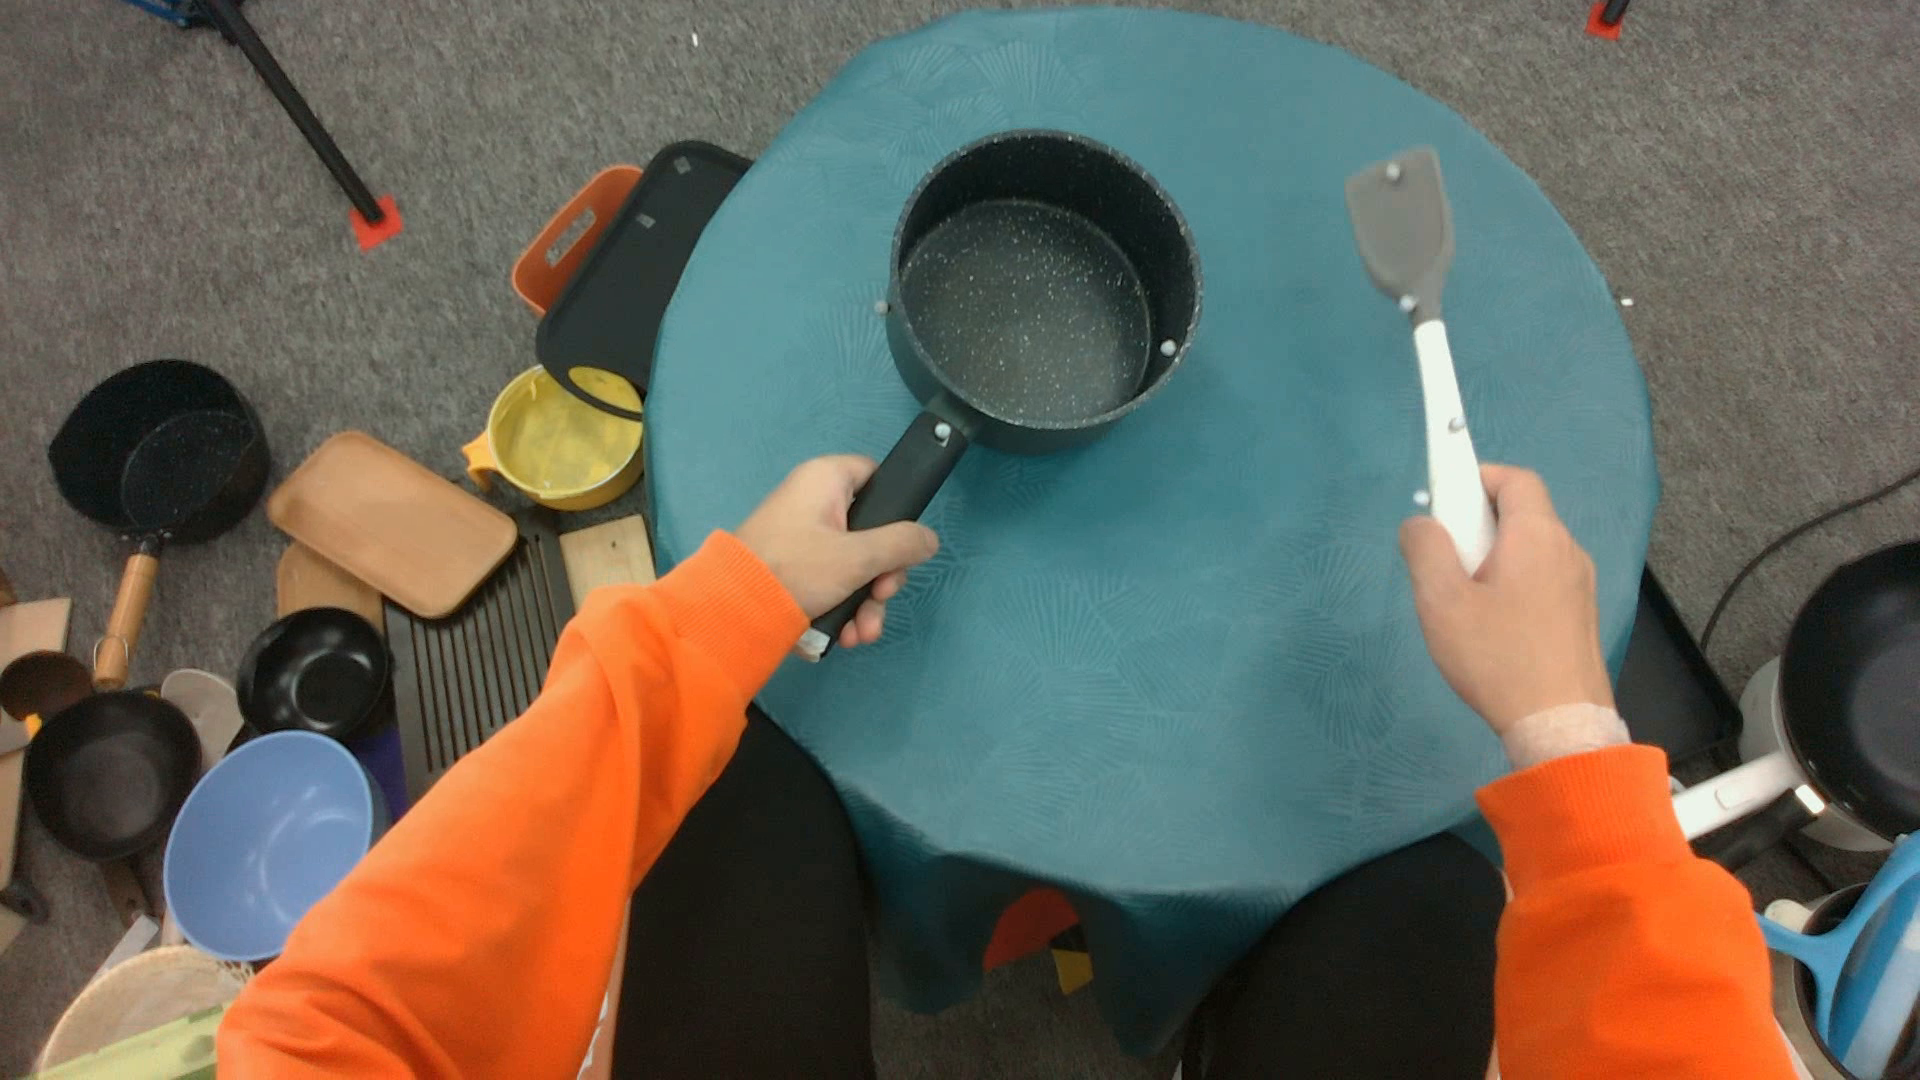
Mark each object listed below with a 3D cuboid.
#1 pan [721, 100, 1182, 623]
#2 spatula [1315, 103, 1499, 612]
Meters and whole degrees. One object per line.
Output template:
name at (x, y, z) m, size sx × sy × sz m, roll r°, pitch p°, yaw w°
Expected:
pan at (-0.015, -0.086, 0.740) m, size 0.172 × 0.086 × 0.330 m, roll 36°, pitch 73°, yaw 0°
spatula at (0.229, -0.101, 0.702) m, size 0.058 × 0.032 × 0.288 m, roll -22°, pitch 57°, yaw 35°
